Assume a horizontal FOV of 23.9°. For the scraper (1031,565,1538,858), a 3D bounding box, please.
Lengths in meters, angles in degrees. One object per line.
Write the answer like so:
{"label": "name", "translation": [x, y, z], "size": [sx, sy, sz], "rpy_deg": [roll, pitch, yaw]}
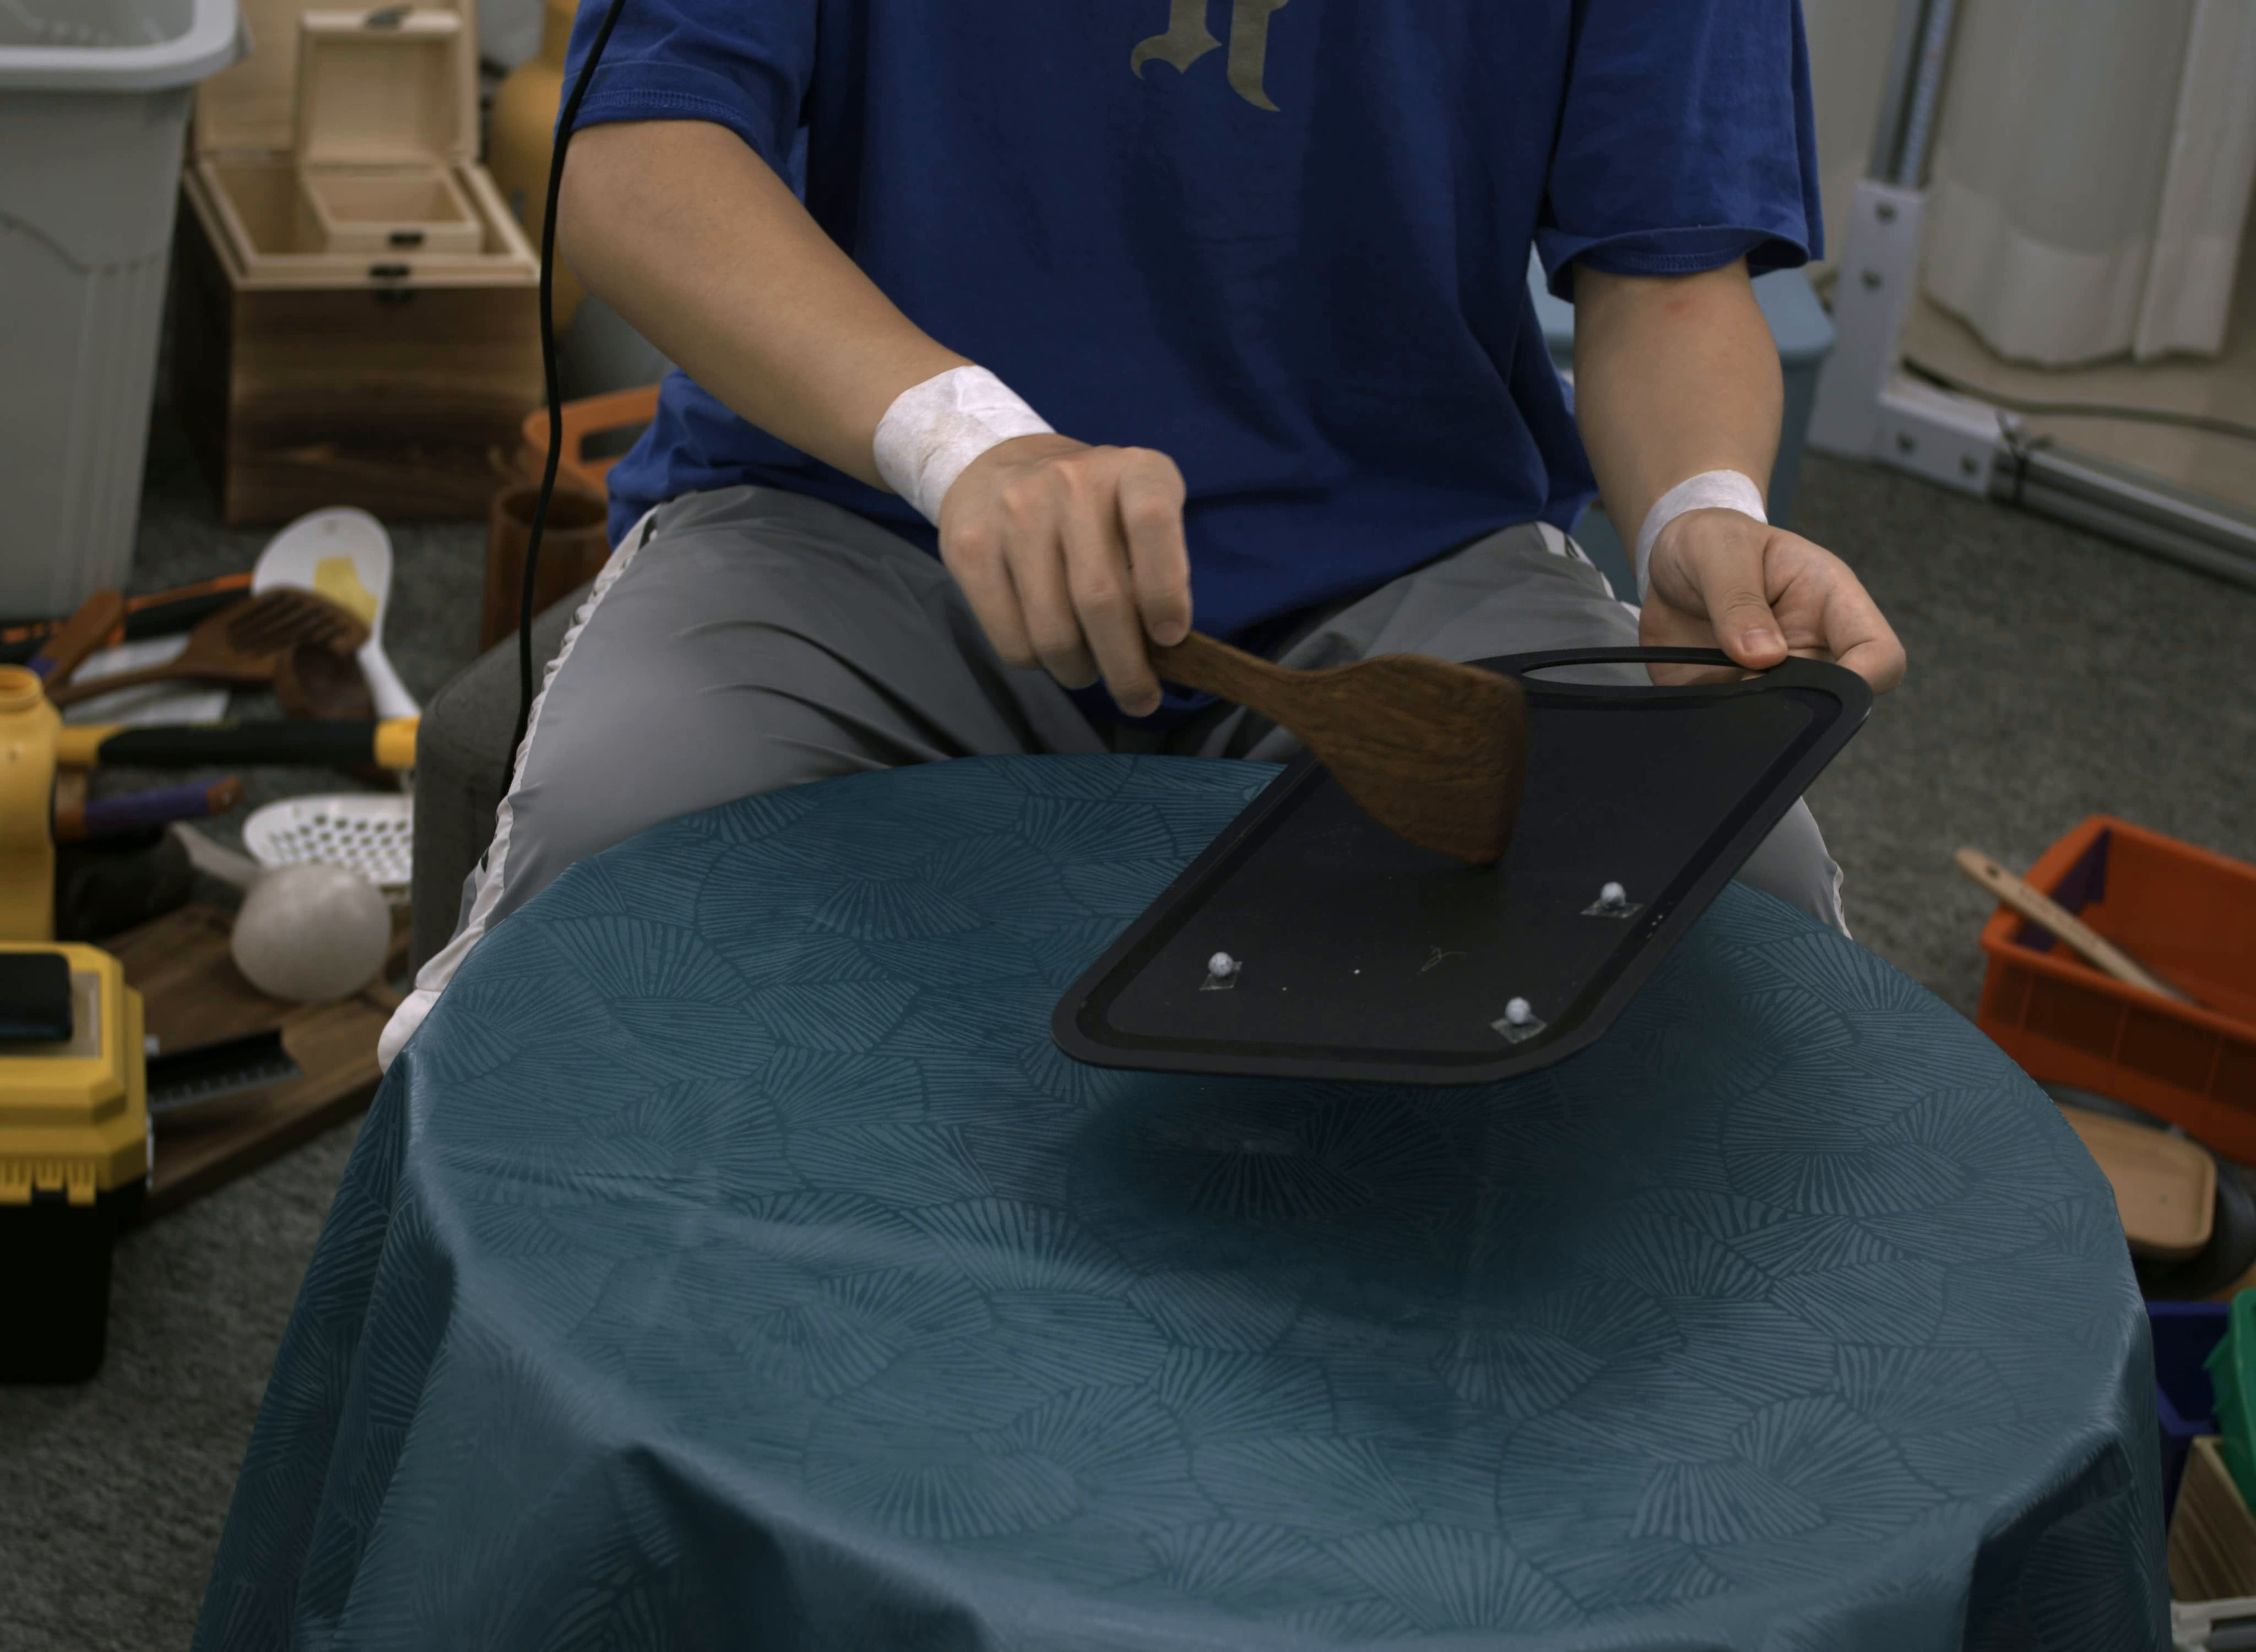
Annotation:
{"label": "scraper", "translation": [0.051, -0.050, 1.861], "size": [0.212, 0.075, 0.011], "rpy_deg": [21, 30, 31]}

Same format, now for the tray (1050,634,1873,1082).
{"label": "tray", "translation": [0.122, 0.004, 1.849], "size": [0.212, 0.010, 0.325], "rpy_deg": [2, 28, 32]}
